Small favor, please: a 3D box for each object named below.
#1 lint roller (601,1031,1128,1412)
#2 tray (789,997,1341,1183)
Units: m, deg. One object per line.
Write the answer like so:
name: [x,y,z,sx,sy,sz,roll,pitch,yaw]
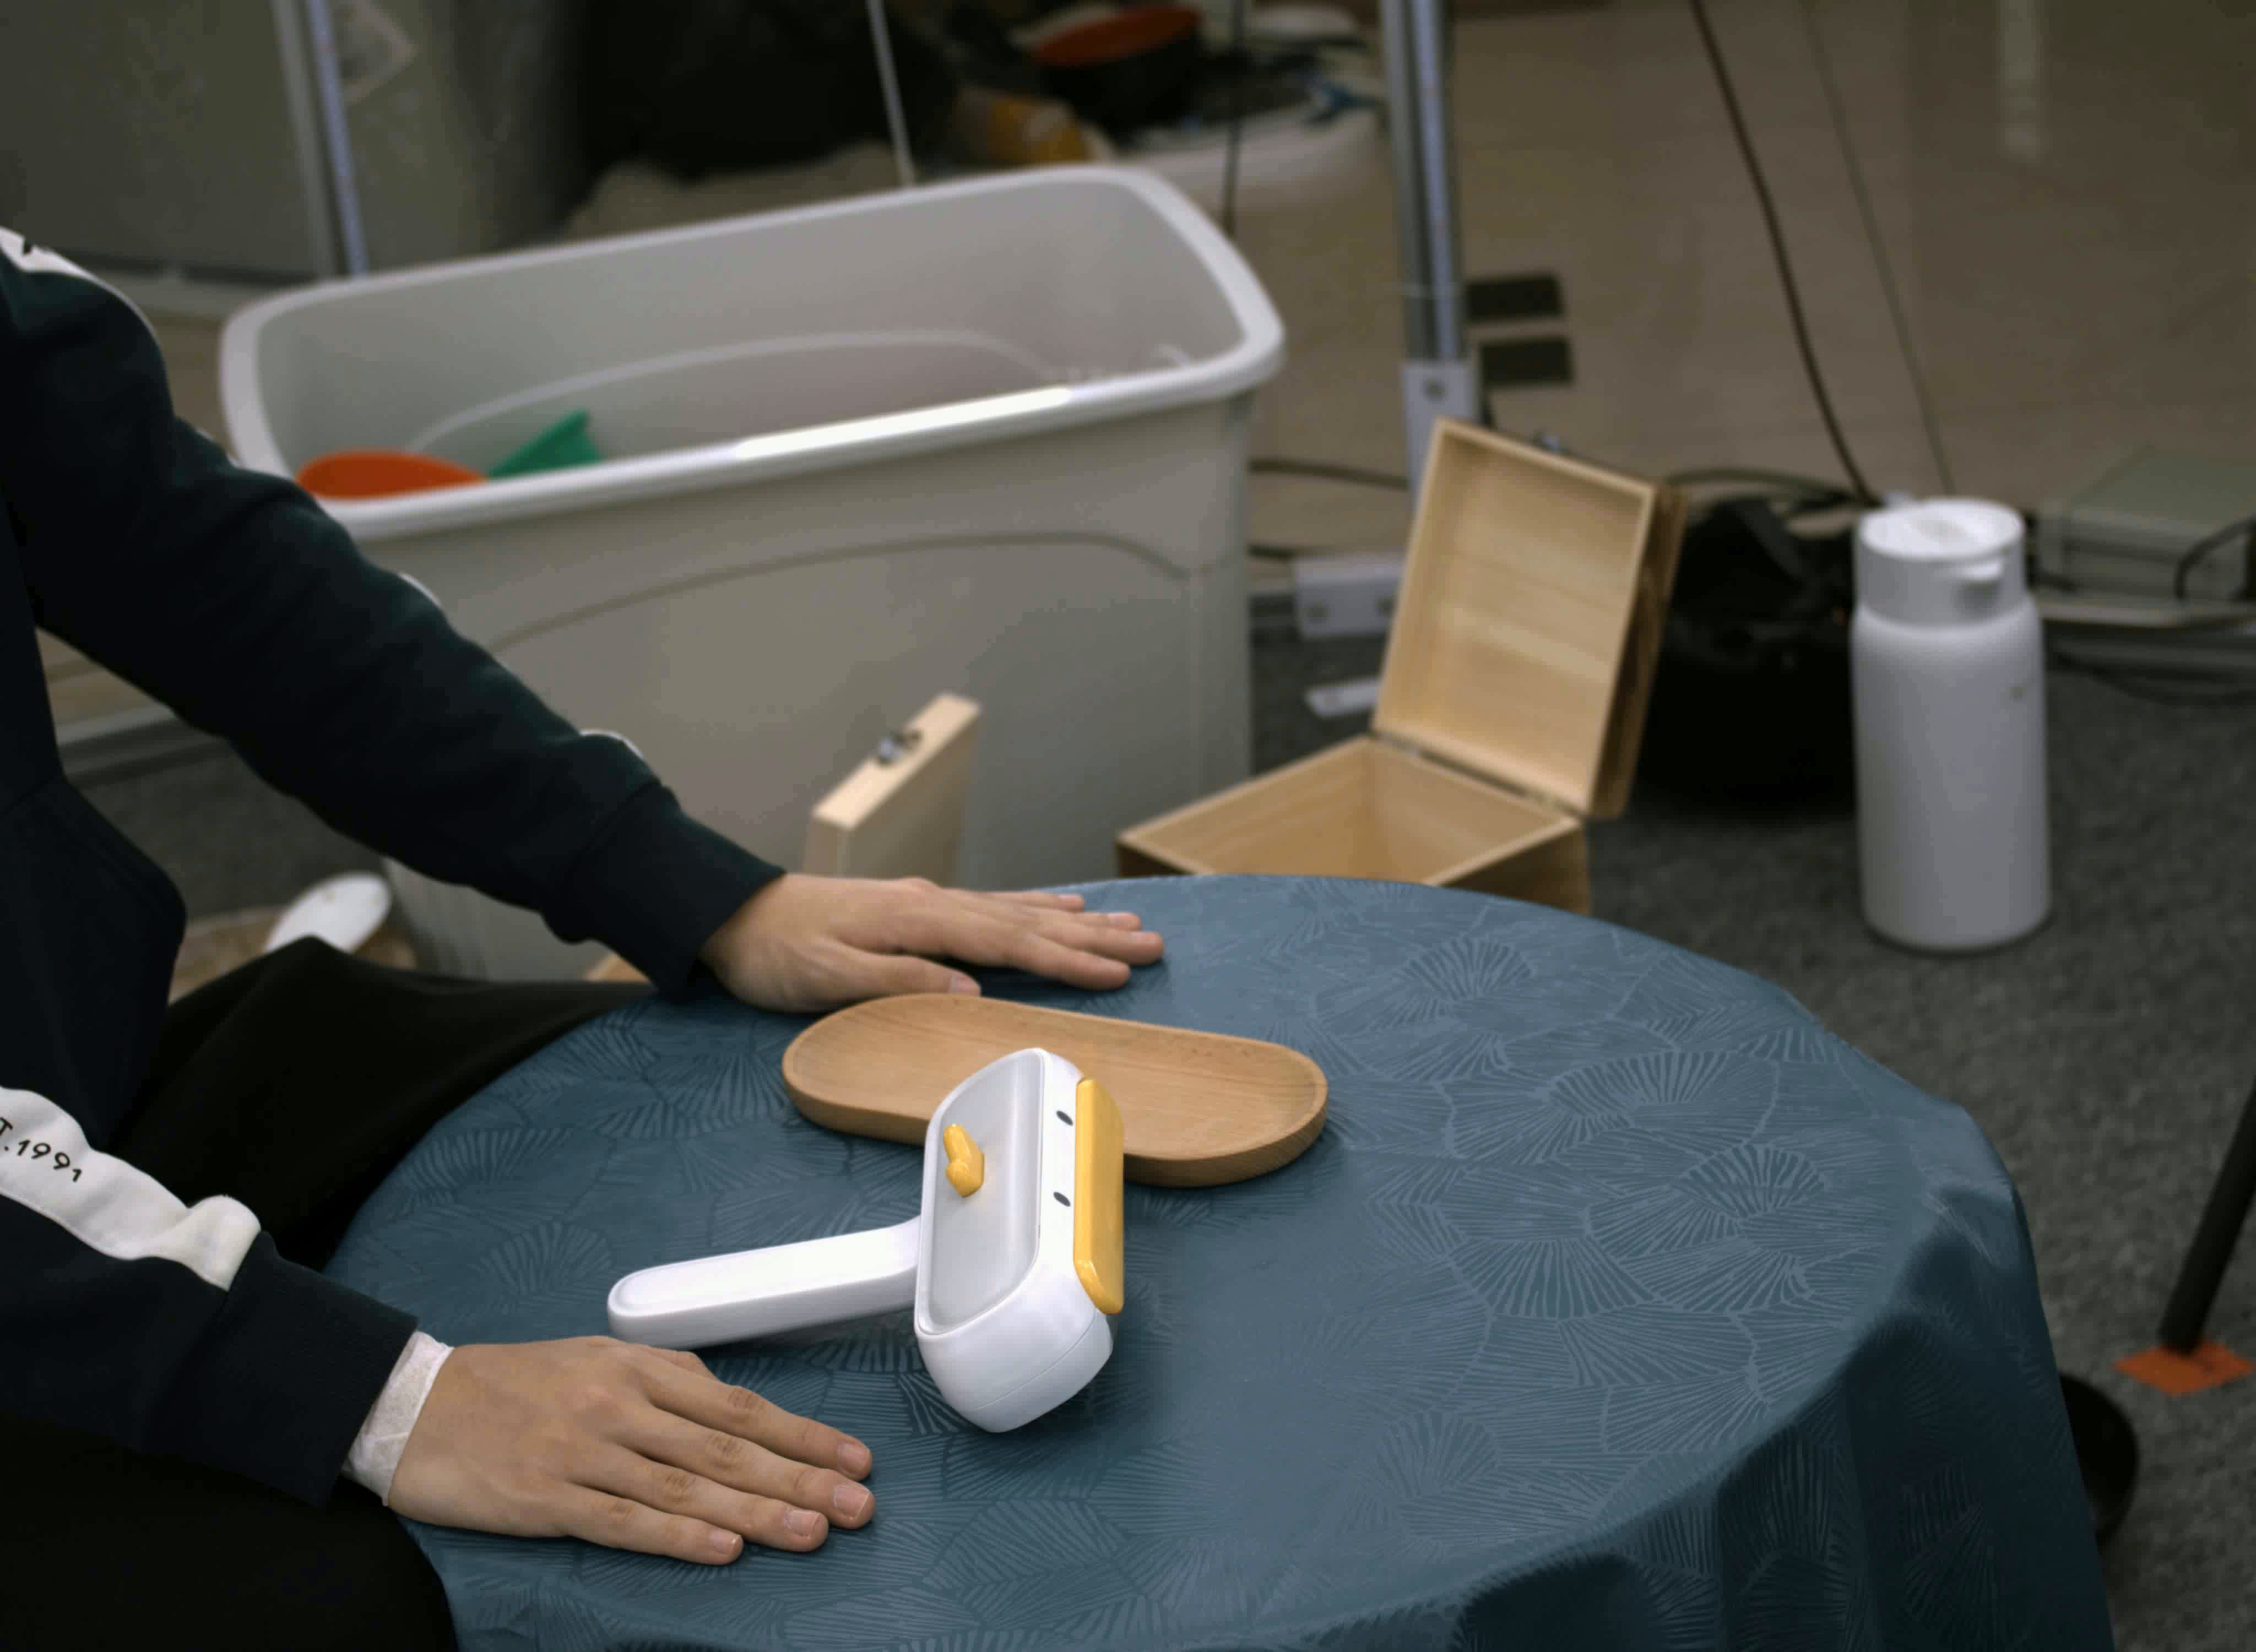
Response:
lint roller: [-0.096,0.160,2.064,0.192,0.075,0.189,-24,30,9]
tray: [-0.026,0.103,2.209,0.230,0.020,0.100,8,29,27]
